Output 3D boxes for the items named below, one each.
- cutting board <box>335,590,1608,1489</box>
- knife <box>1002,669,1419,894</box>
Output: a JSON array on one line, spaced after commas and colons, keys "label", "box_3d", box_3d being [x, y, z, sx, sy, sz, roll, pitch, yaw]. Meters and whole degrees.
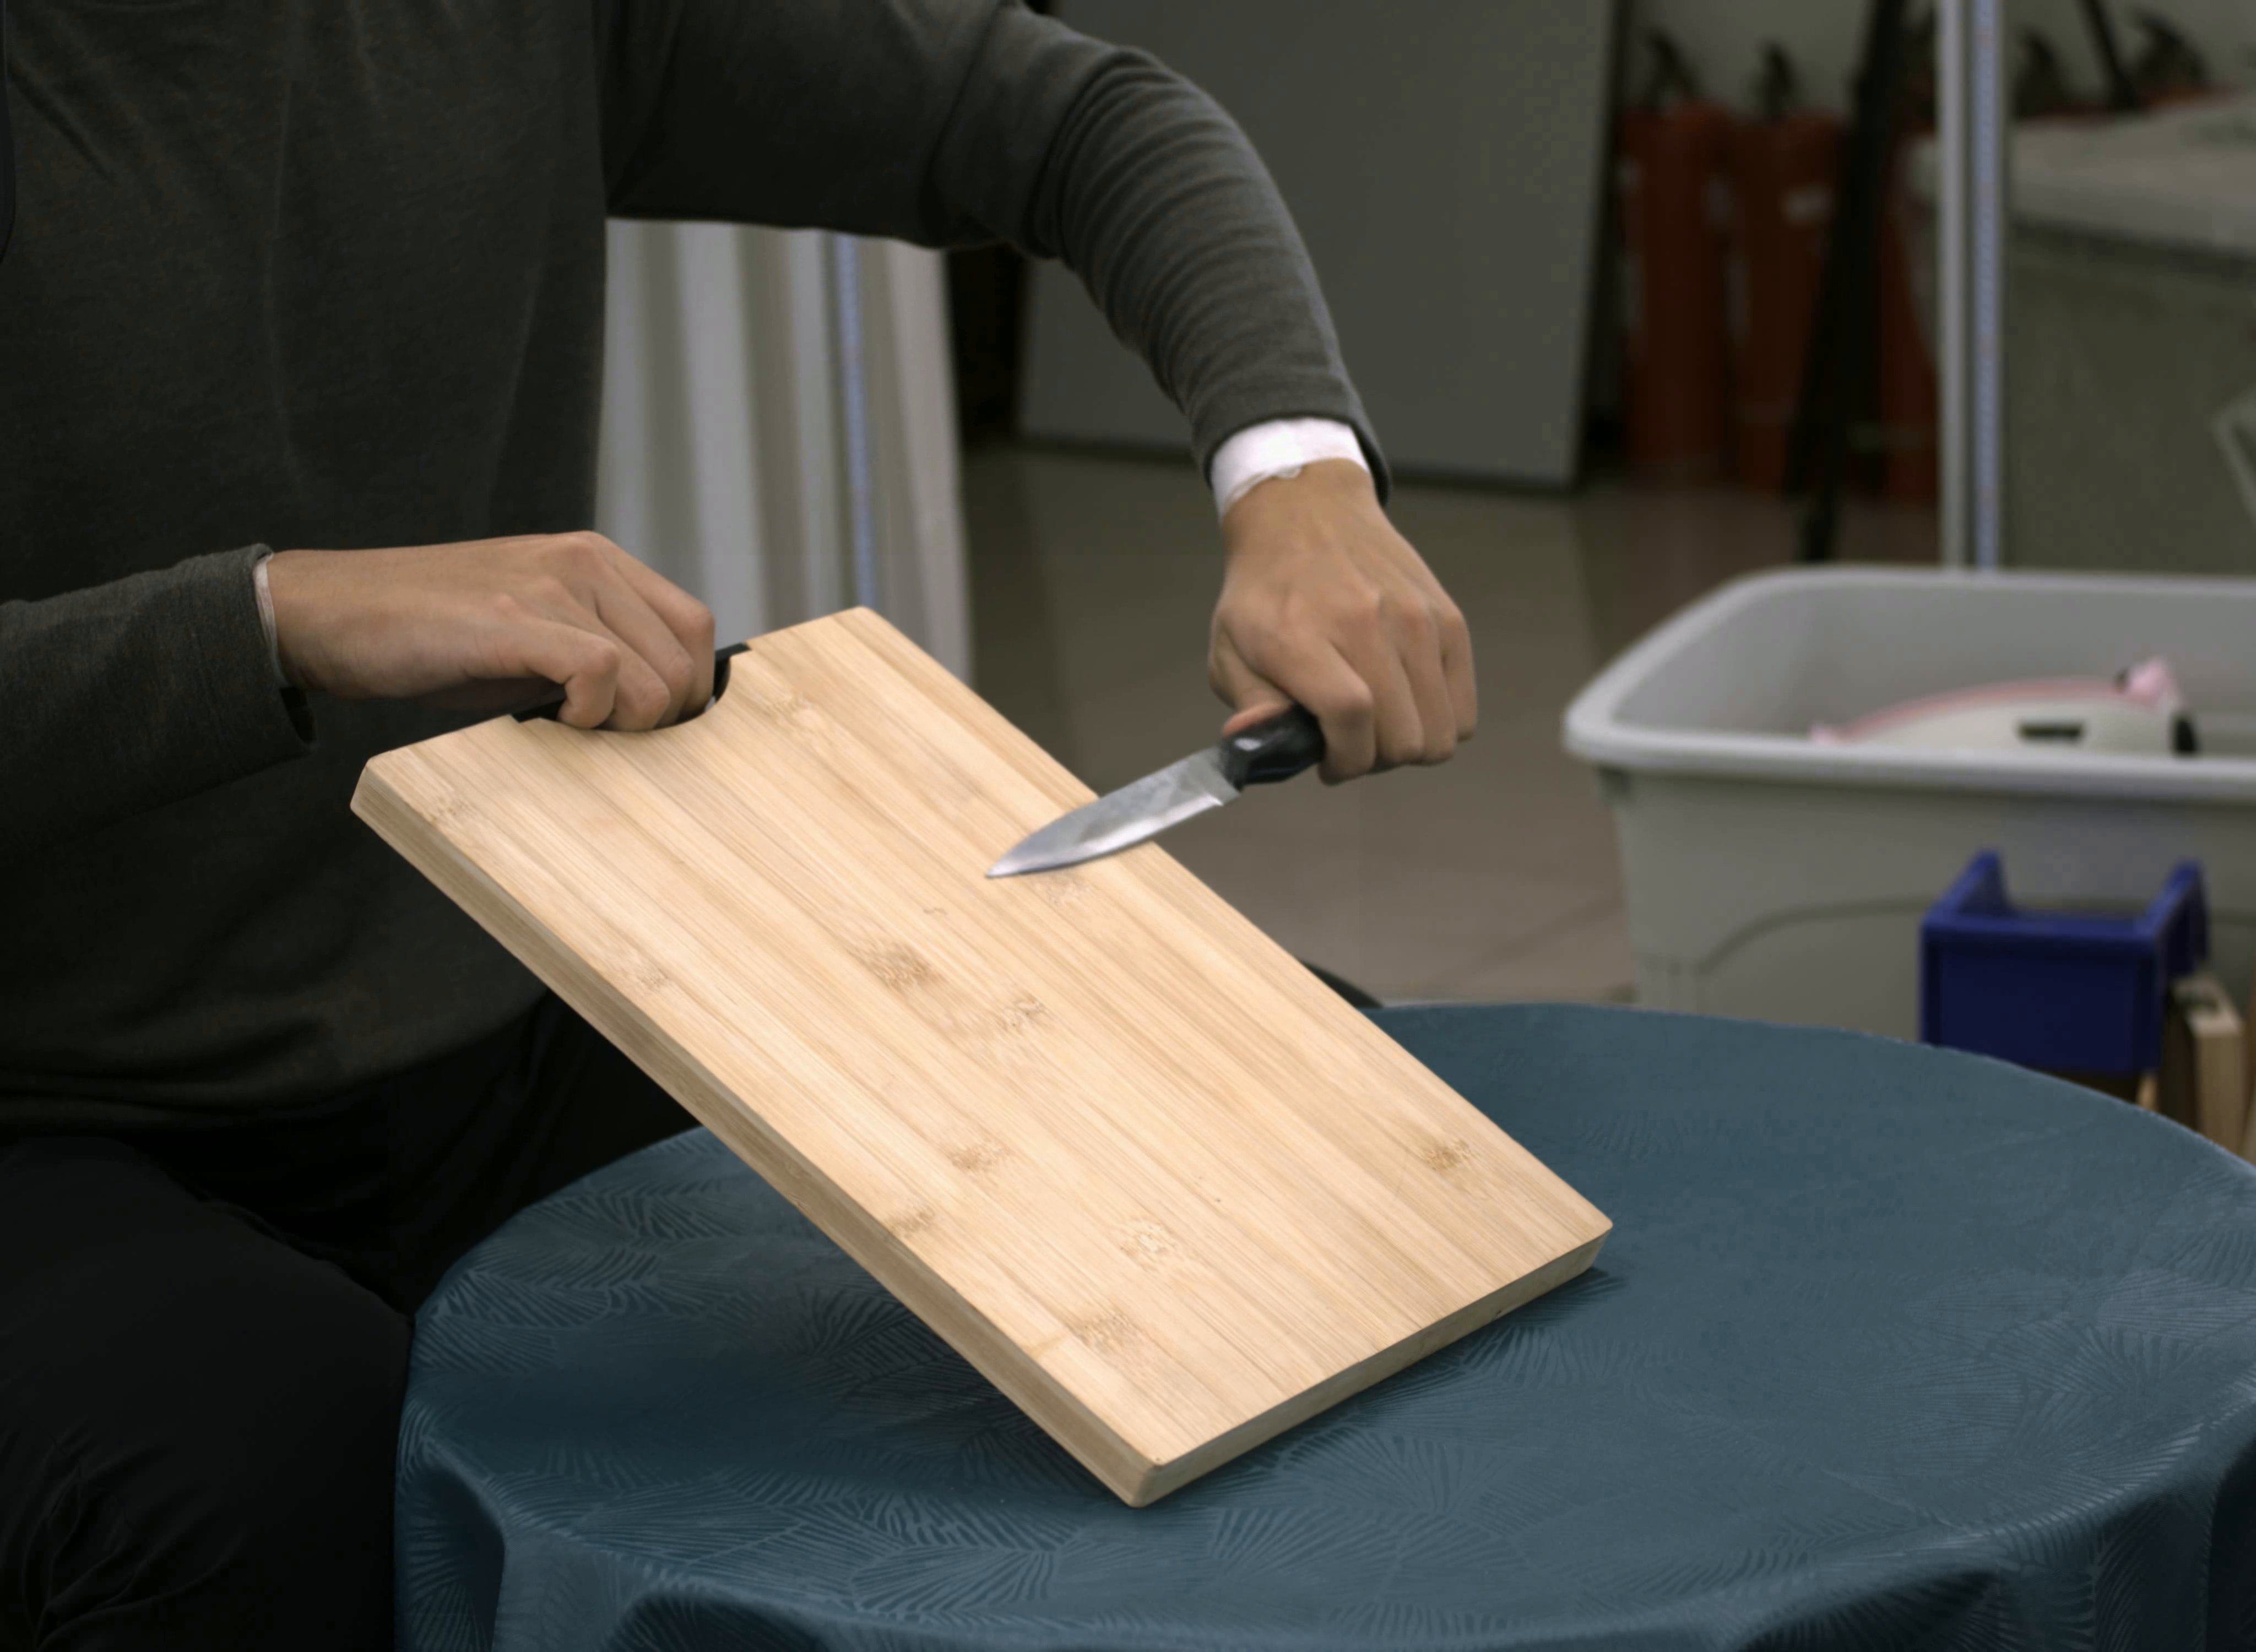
[{"label": "cutting board", "box_3d": [-0.046, 0.055, 1.651, 0.351, 0.024, 0.246, 39, 34, 24]}, {"label": "knife", "box_3d": [0.027, -0.015, 1.781, 0.024, 0.016, 0.234, 36, 35, 22]}]
